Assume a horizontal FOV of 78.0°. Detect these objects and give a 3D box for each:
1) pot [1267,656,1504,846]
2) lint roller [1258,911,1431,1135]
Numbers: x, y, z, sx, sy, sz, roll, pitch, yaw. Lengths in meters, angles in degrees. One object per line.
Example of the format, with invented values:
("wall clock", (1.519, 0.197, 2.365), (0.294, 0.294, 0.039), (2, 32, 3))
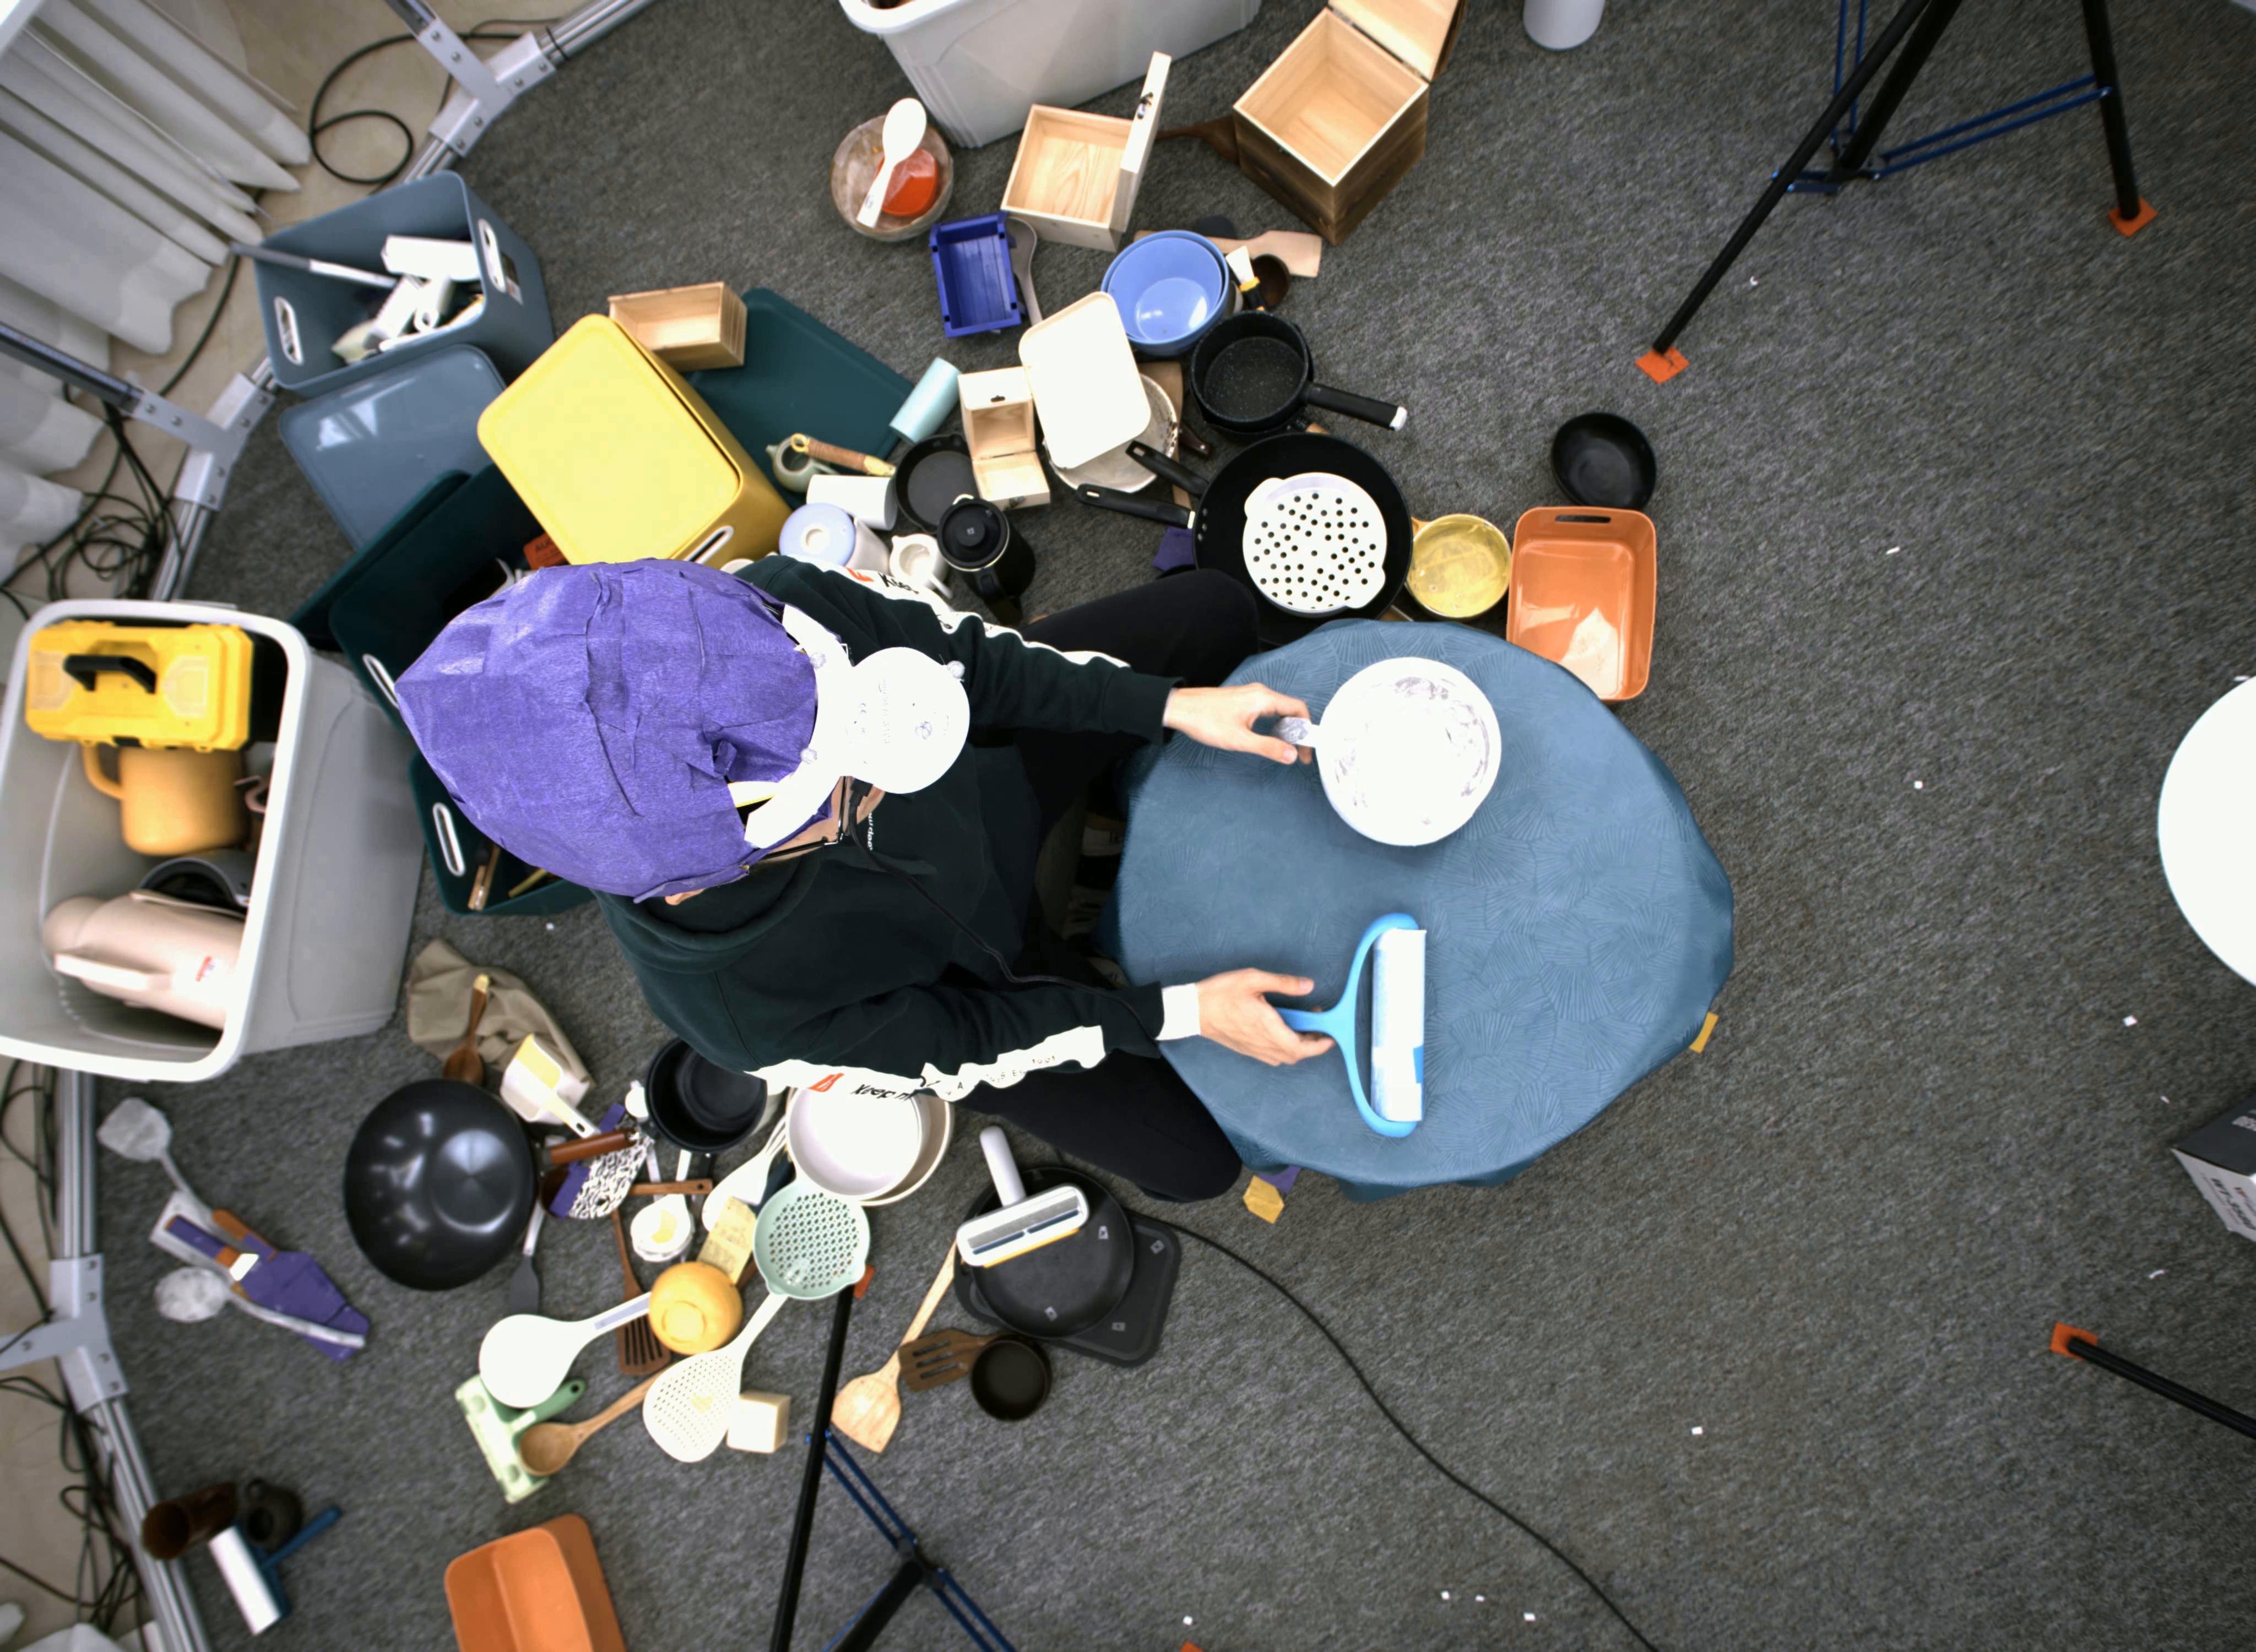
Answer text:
("pot", (0.255, -0.077, 1.394), (0.234, 0.137, 0.178), (10, 88, 9))
("lint roller", (0.223, 0.204, 1.429), (0.181, 0.068, 0.228), (-3, 88, 9))
